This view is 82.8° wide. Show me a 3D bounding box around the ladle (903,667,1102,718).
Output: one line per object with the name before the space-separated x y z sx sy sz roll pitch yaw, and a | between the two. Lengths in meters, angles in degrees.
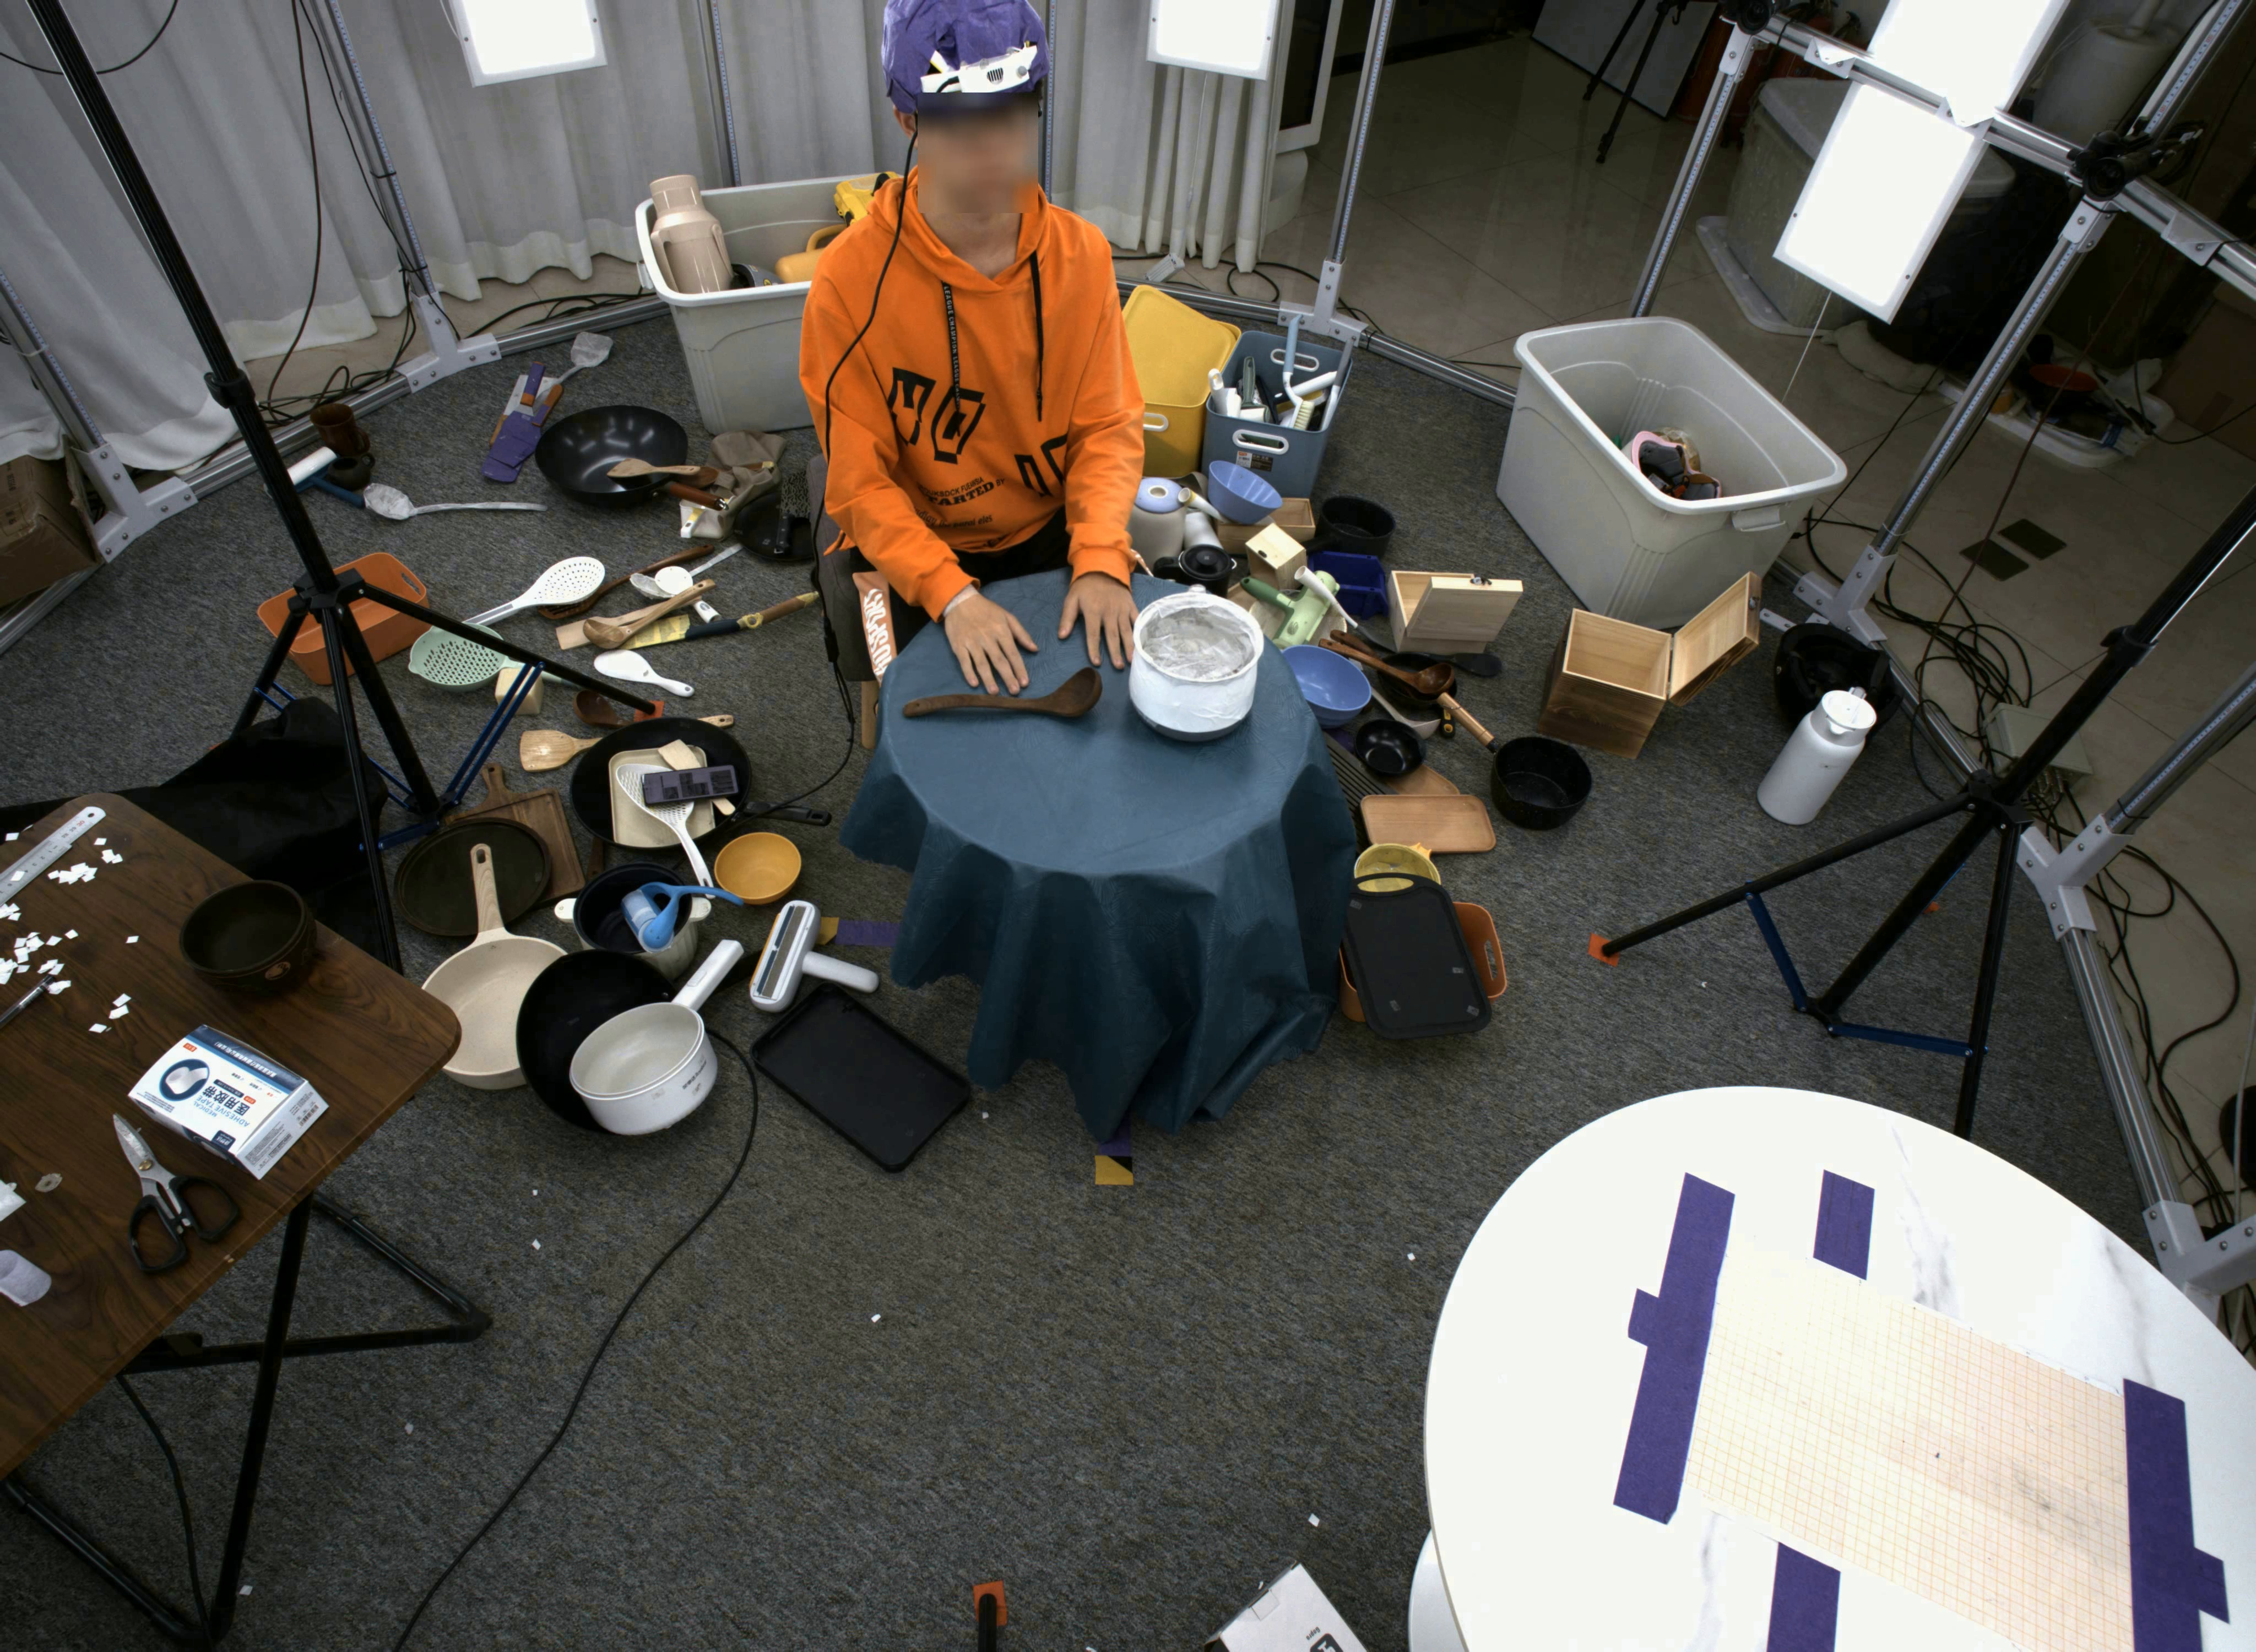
ladle | -0.173 -0.183 1.771 0.274 0.069 0.078 0 44 -5

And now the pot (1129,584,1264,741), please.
pot | 0.091 -0.237 1.792 0.178 0.133 0.239 3 49 -3
